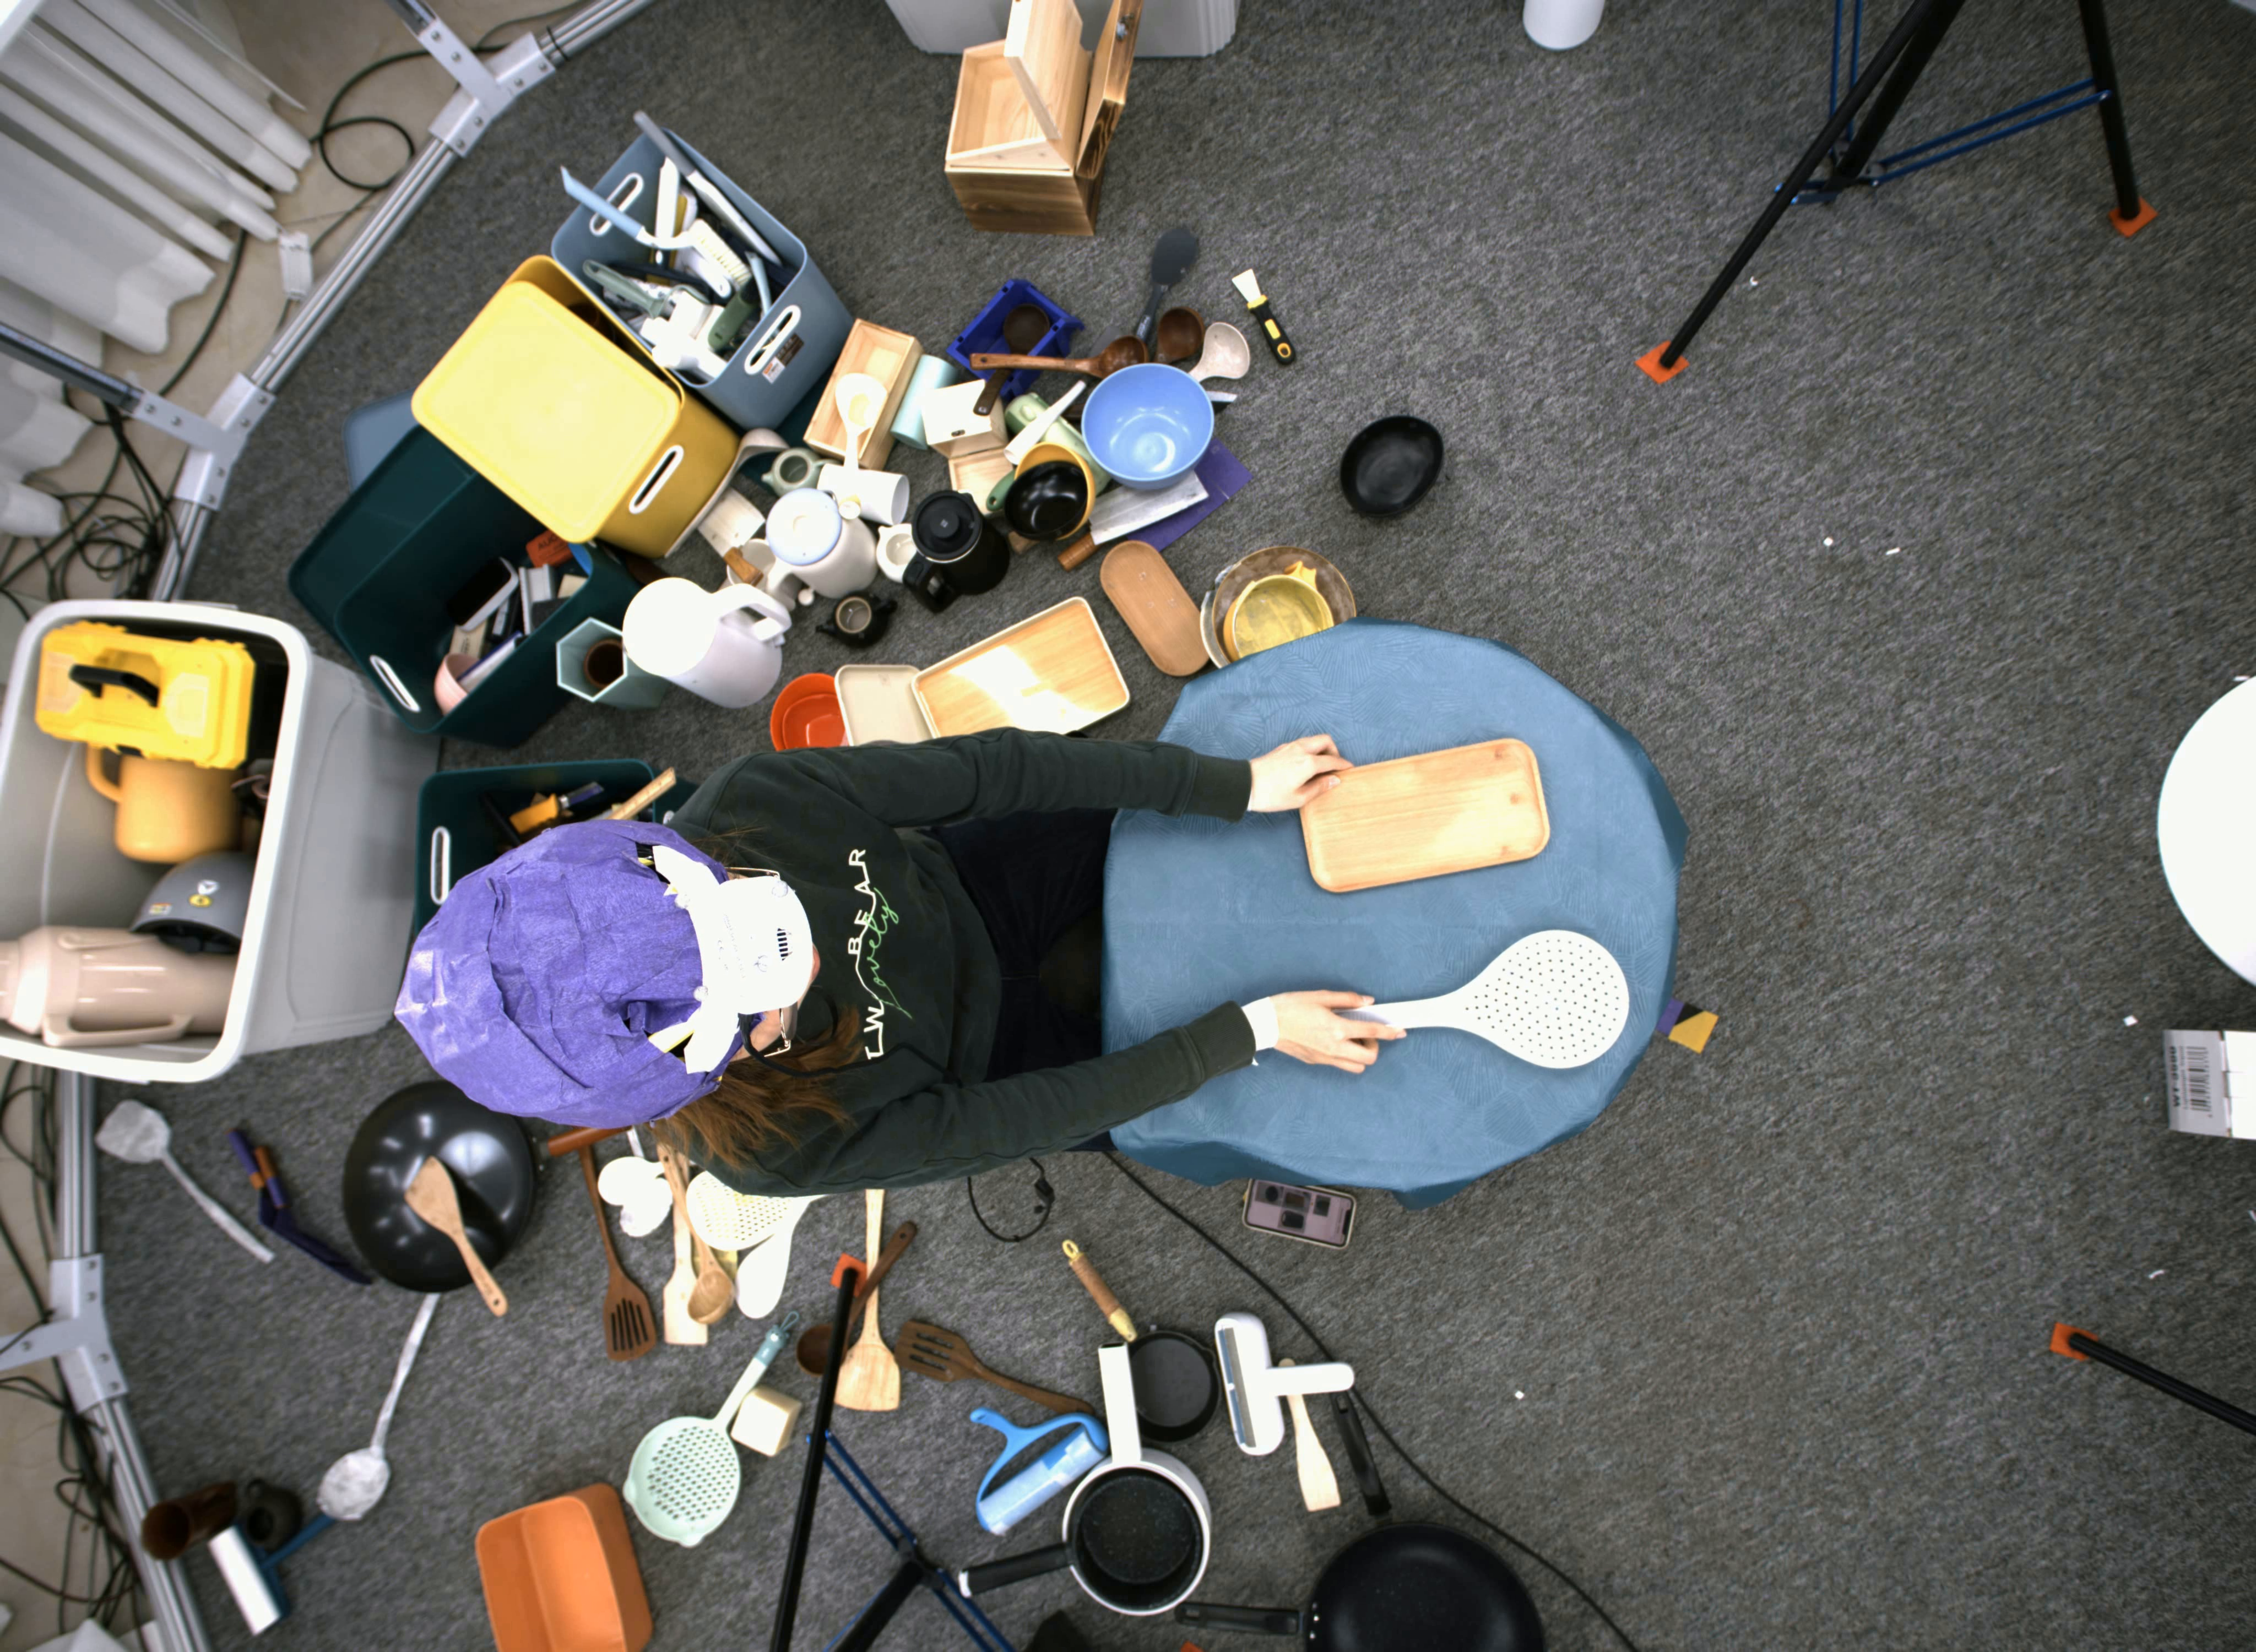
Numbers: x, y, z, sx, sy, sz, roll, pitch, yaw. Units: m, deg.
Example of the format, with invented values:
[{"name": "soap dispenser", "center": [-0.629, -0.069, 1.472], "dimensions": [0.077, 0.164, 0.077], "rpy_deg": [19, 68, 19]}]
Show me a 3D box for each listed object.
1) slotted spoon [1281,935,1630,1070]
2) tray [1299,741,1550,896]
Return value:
[{"name": "slotted spoon", "center": [0.332, 0.190, 1.421], "dimensions": [0.351, 0.046, 0.135], "rpy_deg": [-7, 82, 10]}, {"name": "tray", "center": [0.310, -0.008, 1.449], "dimensions": [0.252, 0.023, 0.130], "rpy_deg": [-11, 88, 10]}]
